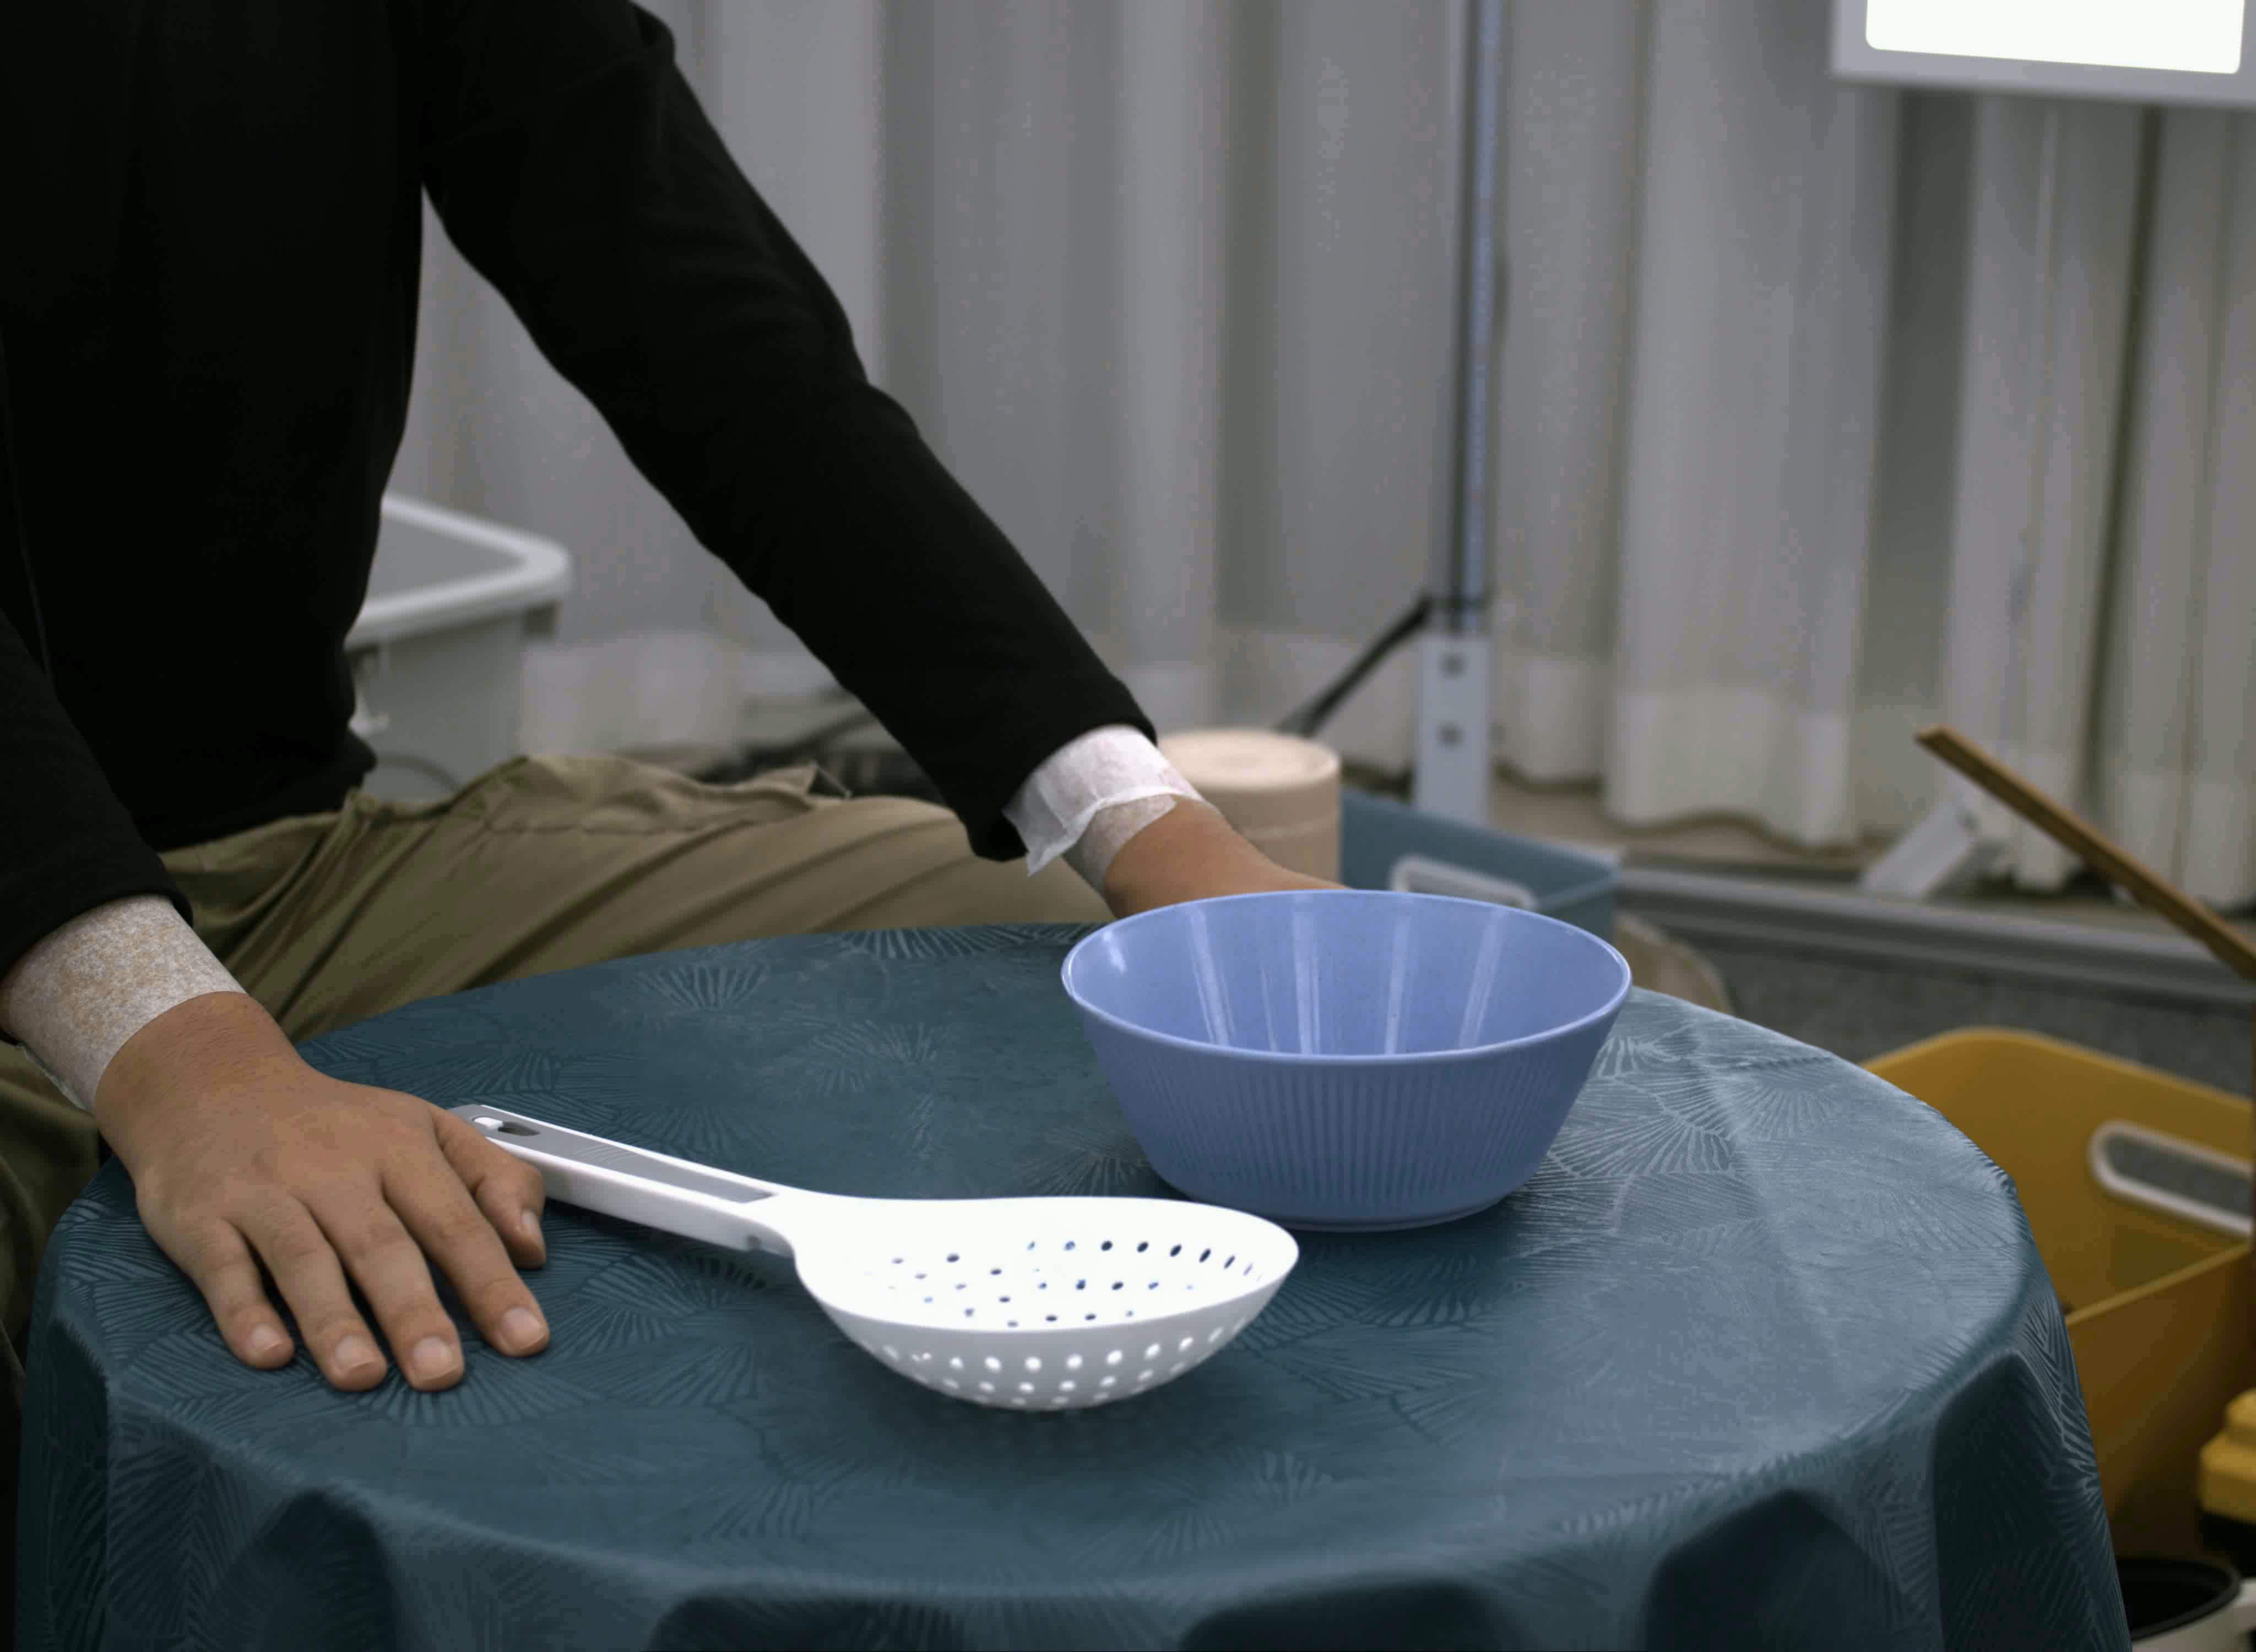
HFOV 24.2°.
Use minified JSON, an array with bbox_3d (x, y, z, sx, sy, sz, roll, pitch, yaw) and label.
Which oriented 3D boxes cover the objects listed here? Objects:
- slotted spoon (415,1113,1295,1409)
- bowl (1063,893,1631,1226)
[{"bbox_3d":[-0.095,0.115,1.522,0.137,0.046,0.345,-14,20,-42],"label":"slotted spoon"},{"bbox_3d":[0.067,0.074,1.628,0.175,0.071,0.175,1,15,0],"label":"bowl"}]
